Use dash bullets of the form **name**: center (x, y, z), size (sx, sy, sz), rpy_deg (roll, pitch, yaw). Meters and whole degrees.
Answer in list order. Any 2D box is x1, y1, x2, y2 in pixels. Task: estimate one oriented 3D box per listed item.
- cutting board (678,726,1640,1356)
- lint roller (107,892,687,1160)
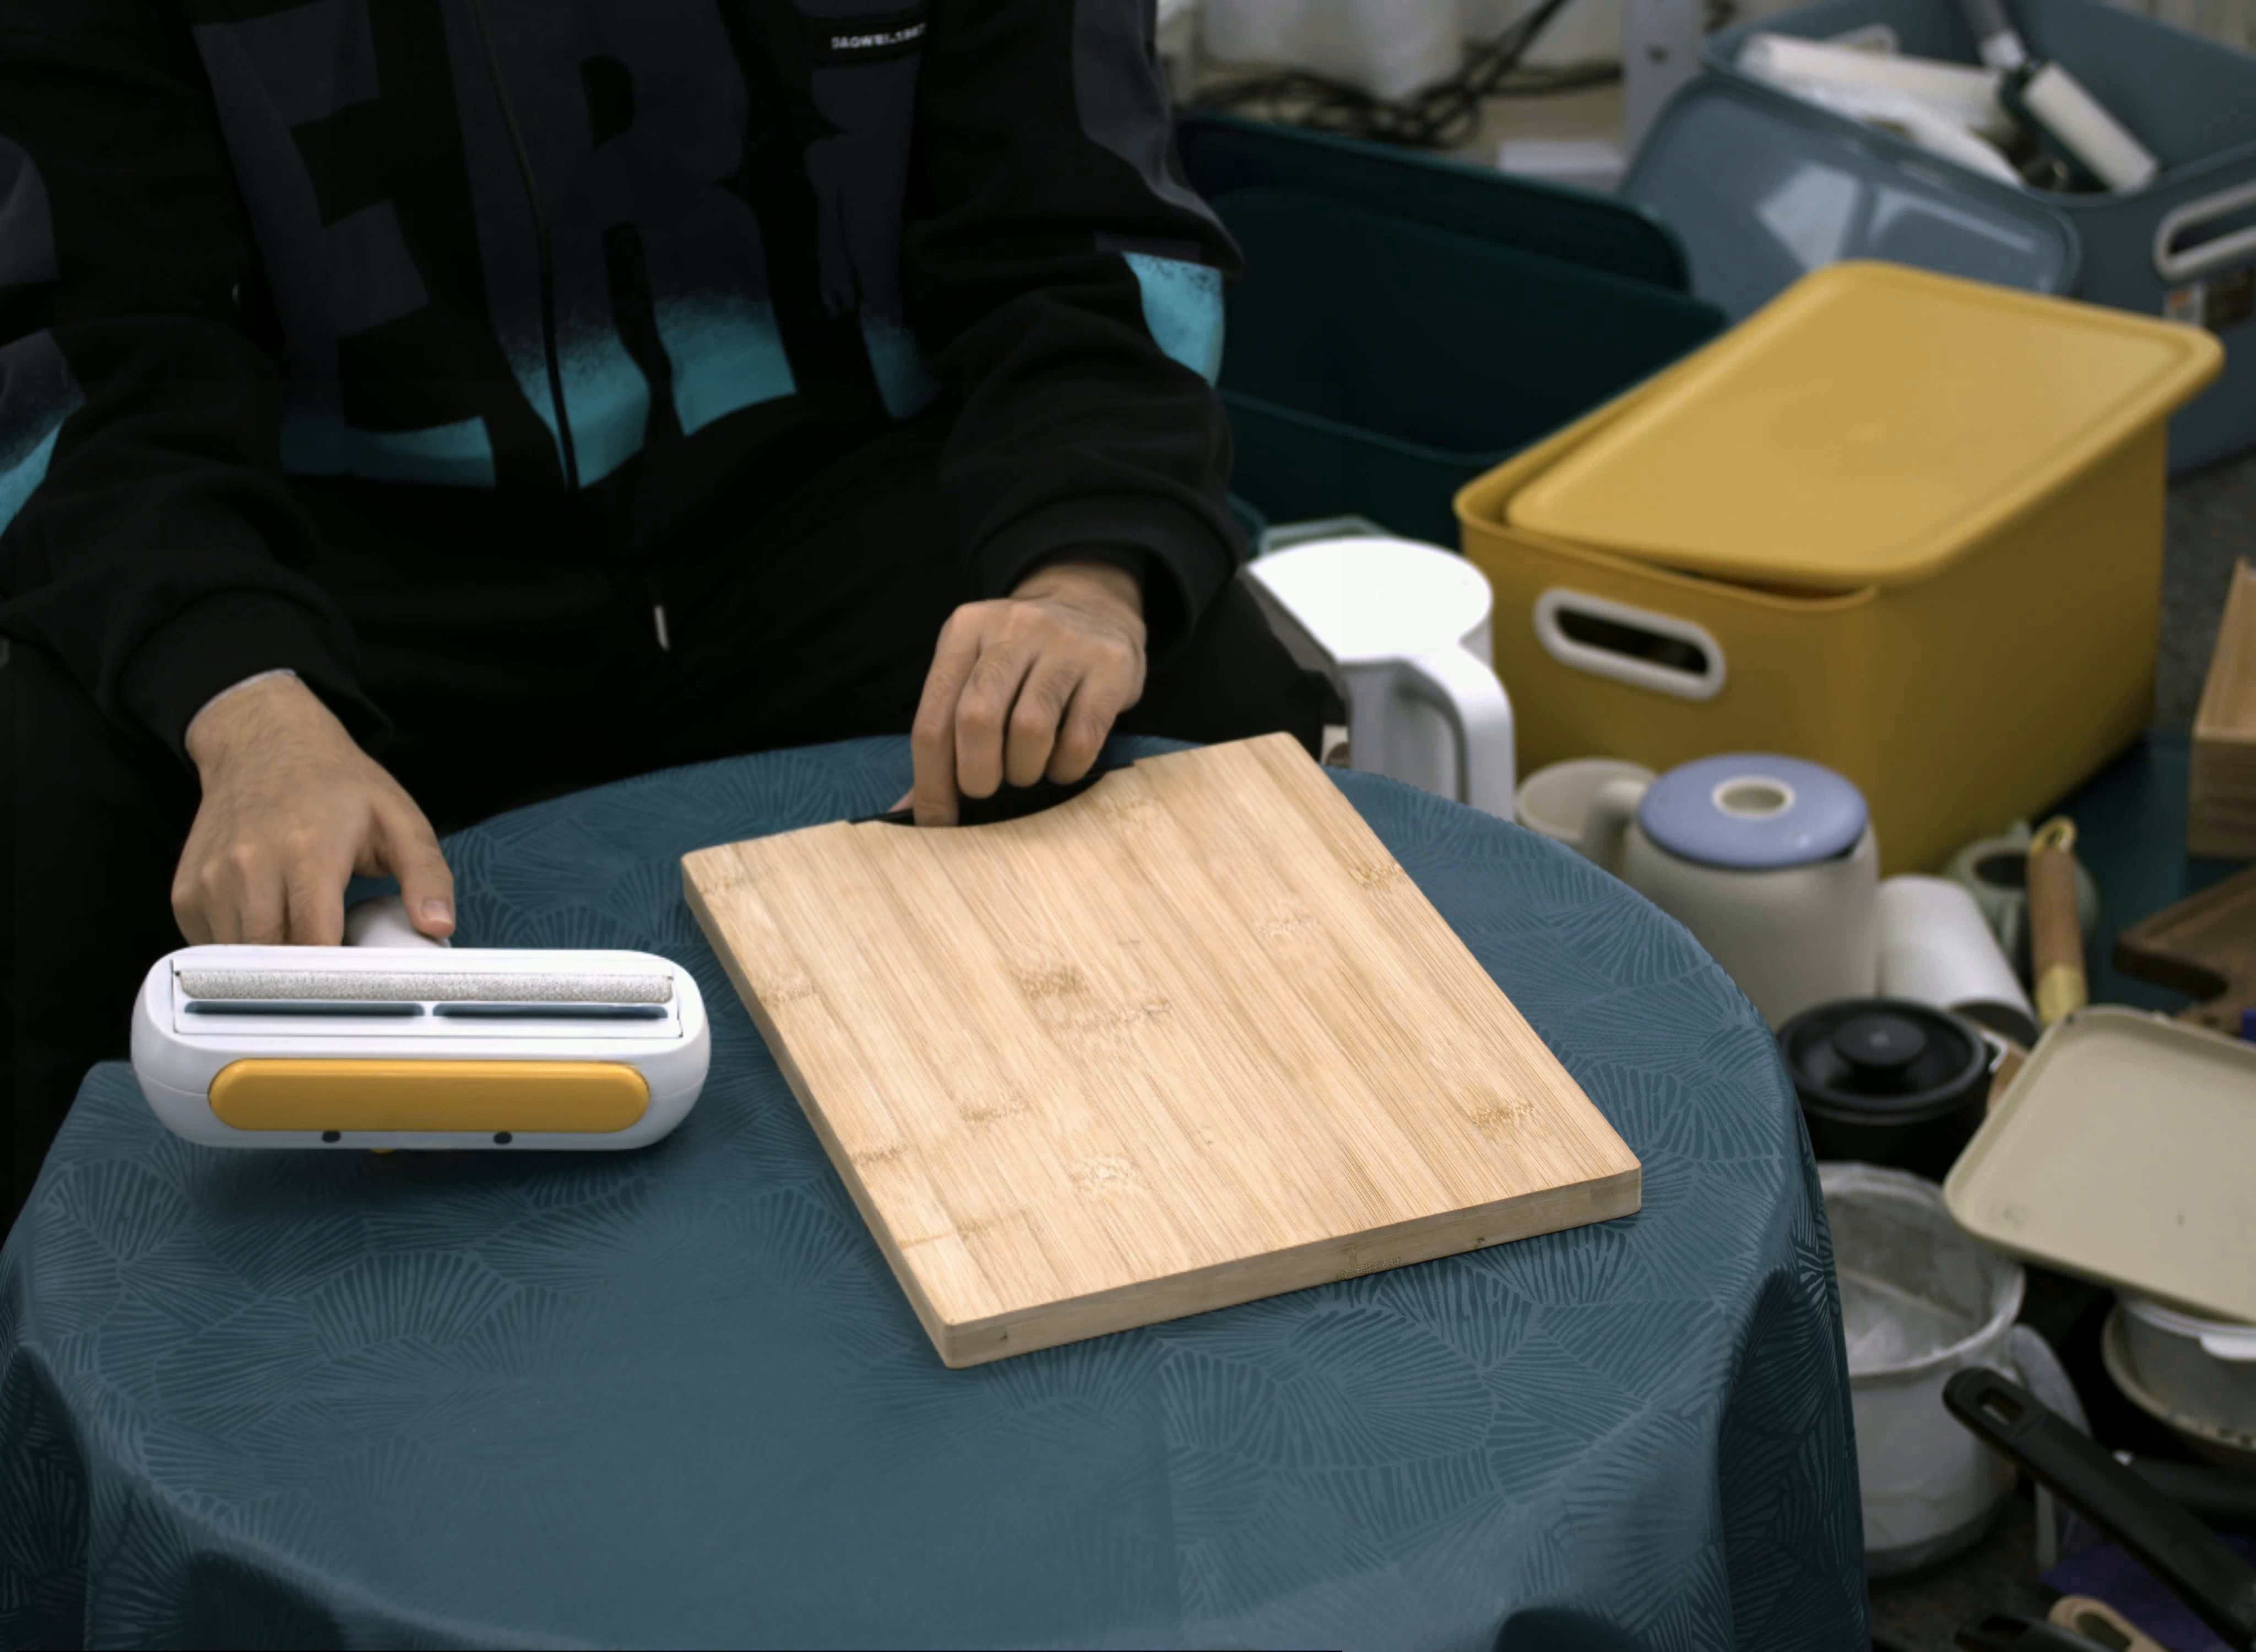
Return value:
- **cutting board**: center (0.001, 0.067, 1.948), size (0.251, 0.023, 0.352), rpy_deg (-11, 29, -16)
- **lint roller**: center (-0.251, 0.057, 1.938), size (0.192, 0.073, 0.195), rpy_deg (-1, 25, -8)
